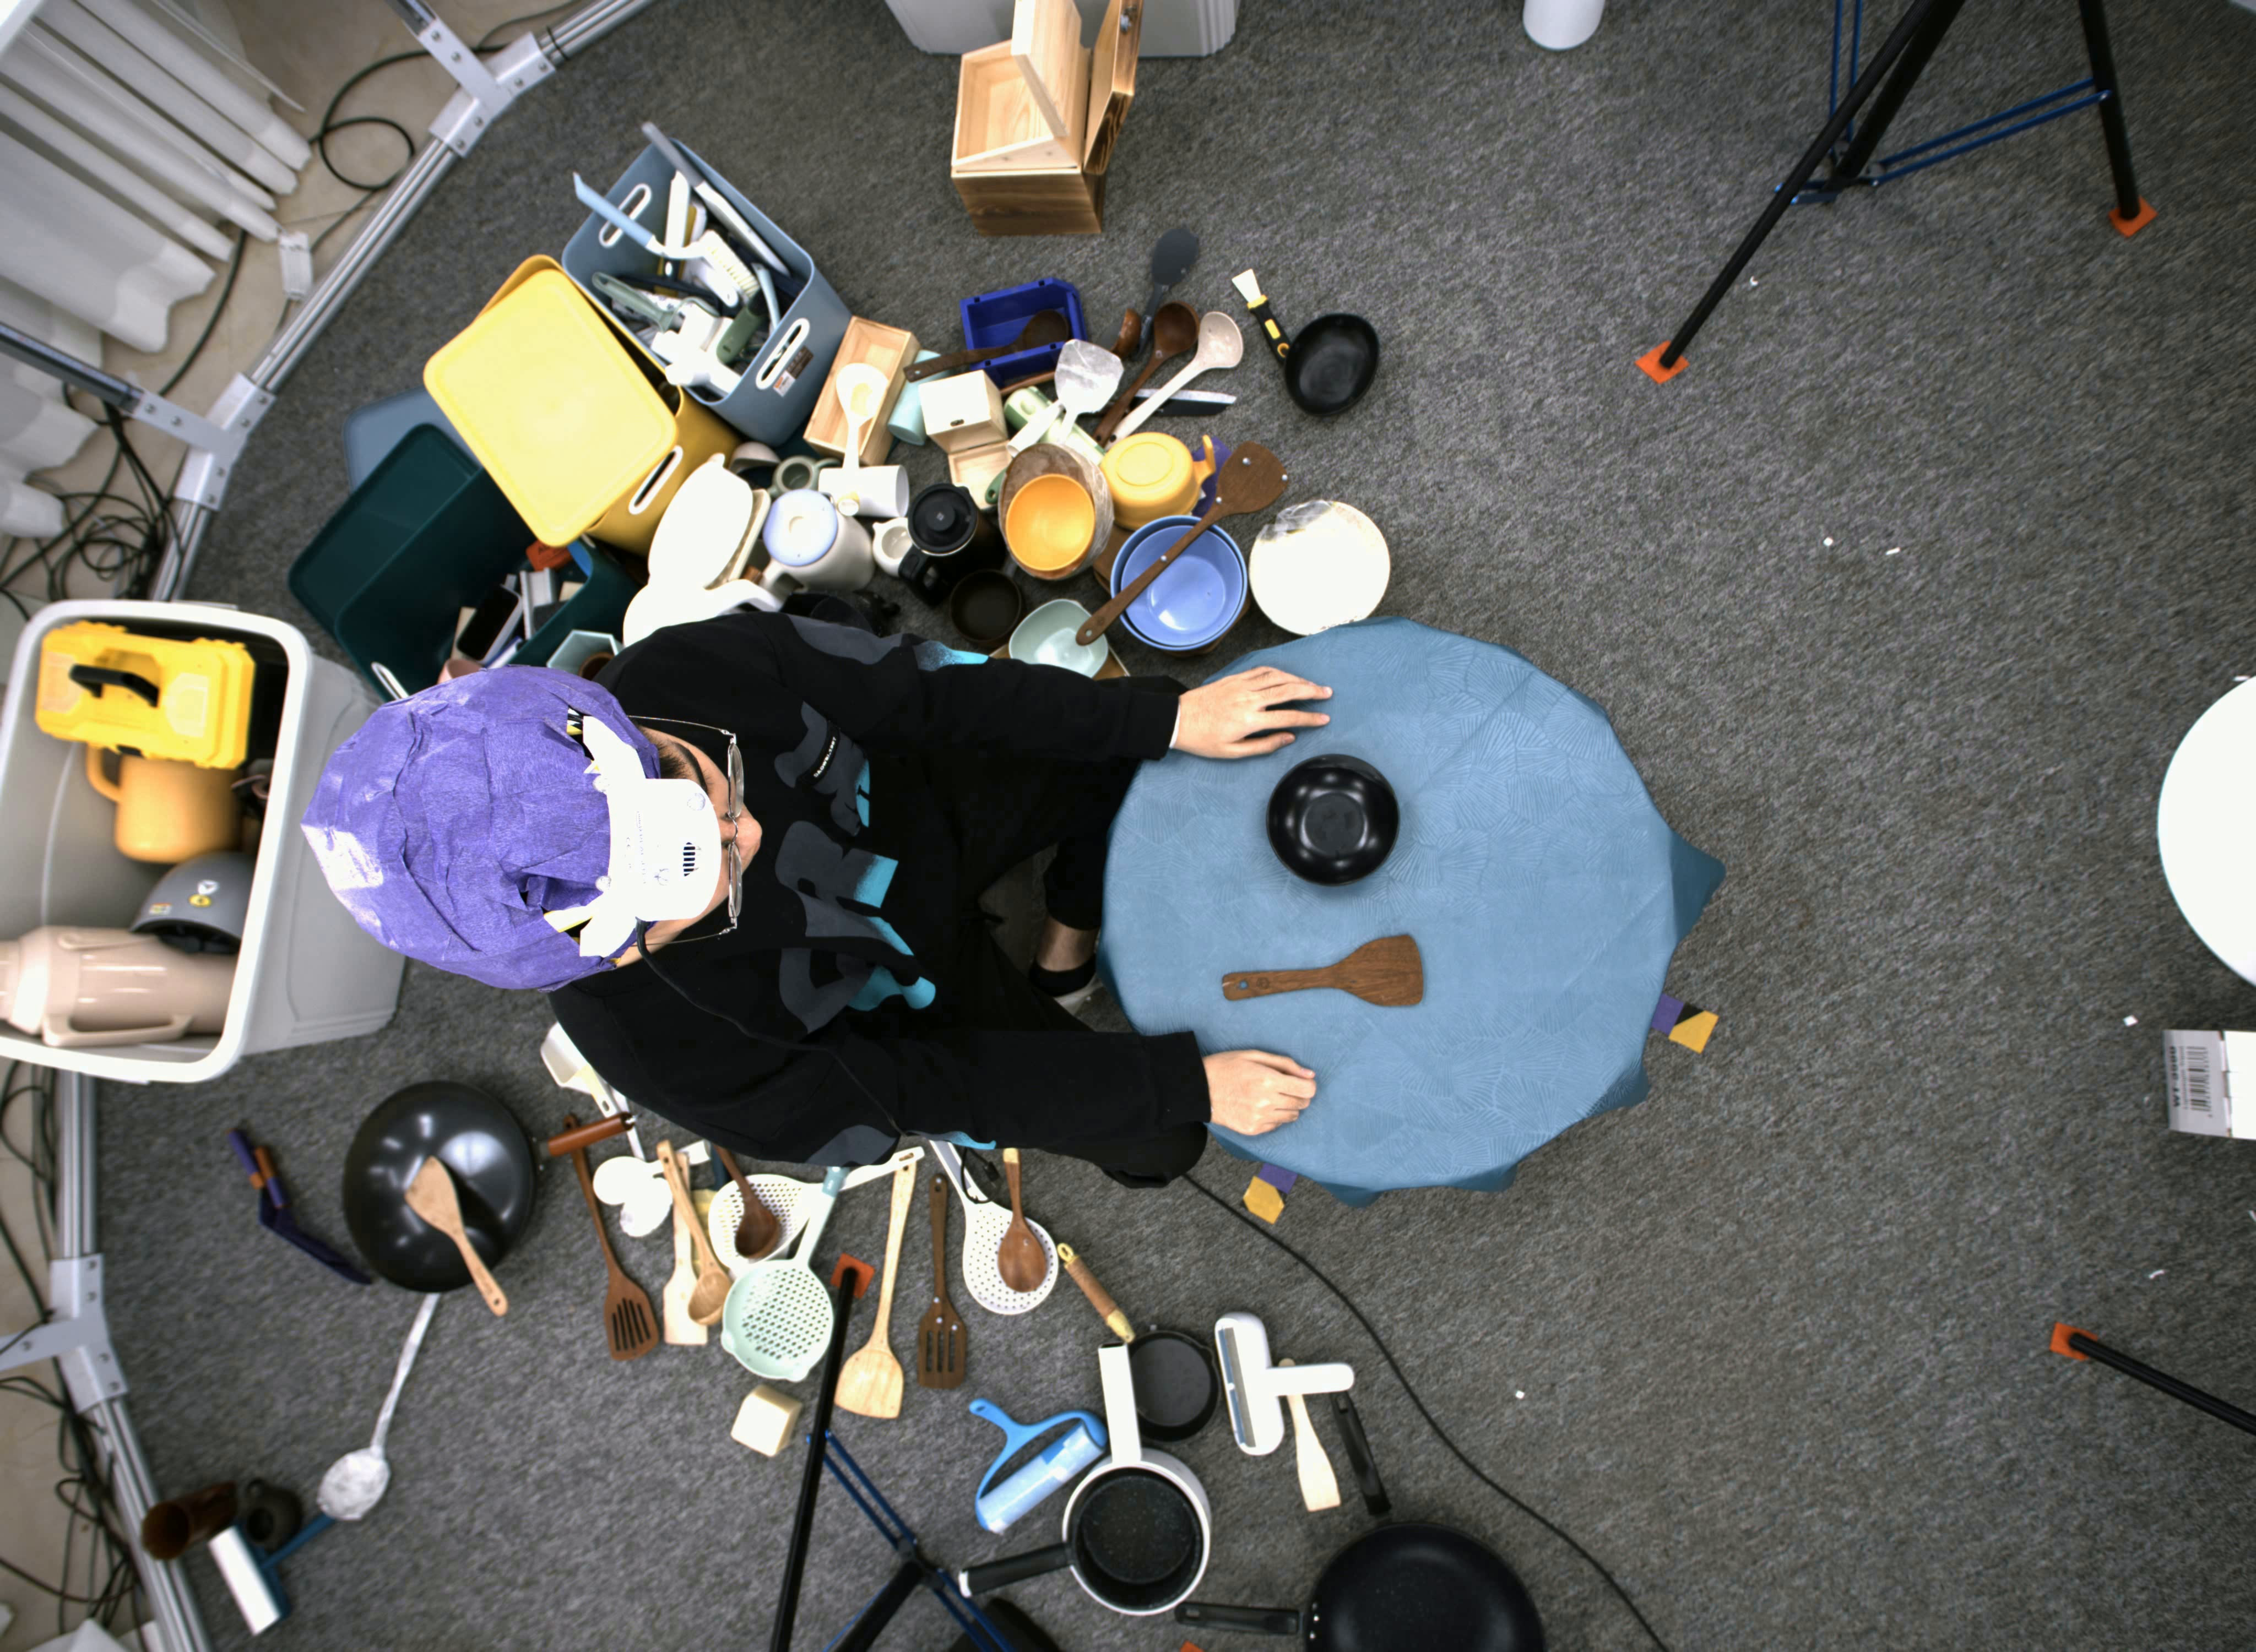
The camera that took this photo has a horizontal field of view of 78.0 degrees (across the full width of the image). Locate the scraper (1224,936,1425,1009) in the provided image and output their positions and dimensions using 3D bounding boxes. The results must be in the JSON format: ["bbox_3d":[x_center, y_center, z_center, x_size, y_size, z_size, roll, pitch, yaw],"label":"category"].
[{"bbox_3d":[0.206,0.162,1.466,0.212,0.011,0.075,-7,84,11],"label":"scraper"}]

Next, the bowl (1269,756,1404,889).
[{"bbox_3d":[0.219,-0.004,1.455,0.140,0.049,0.139,0,89,11],"label":"bowl"}]
